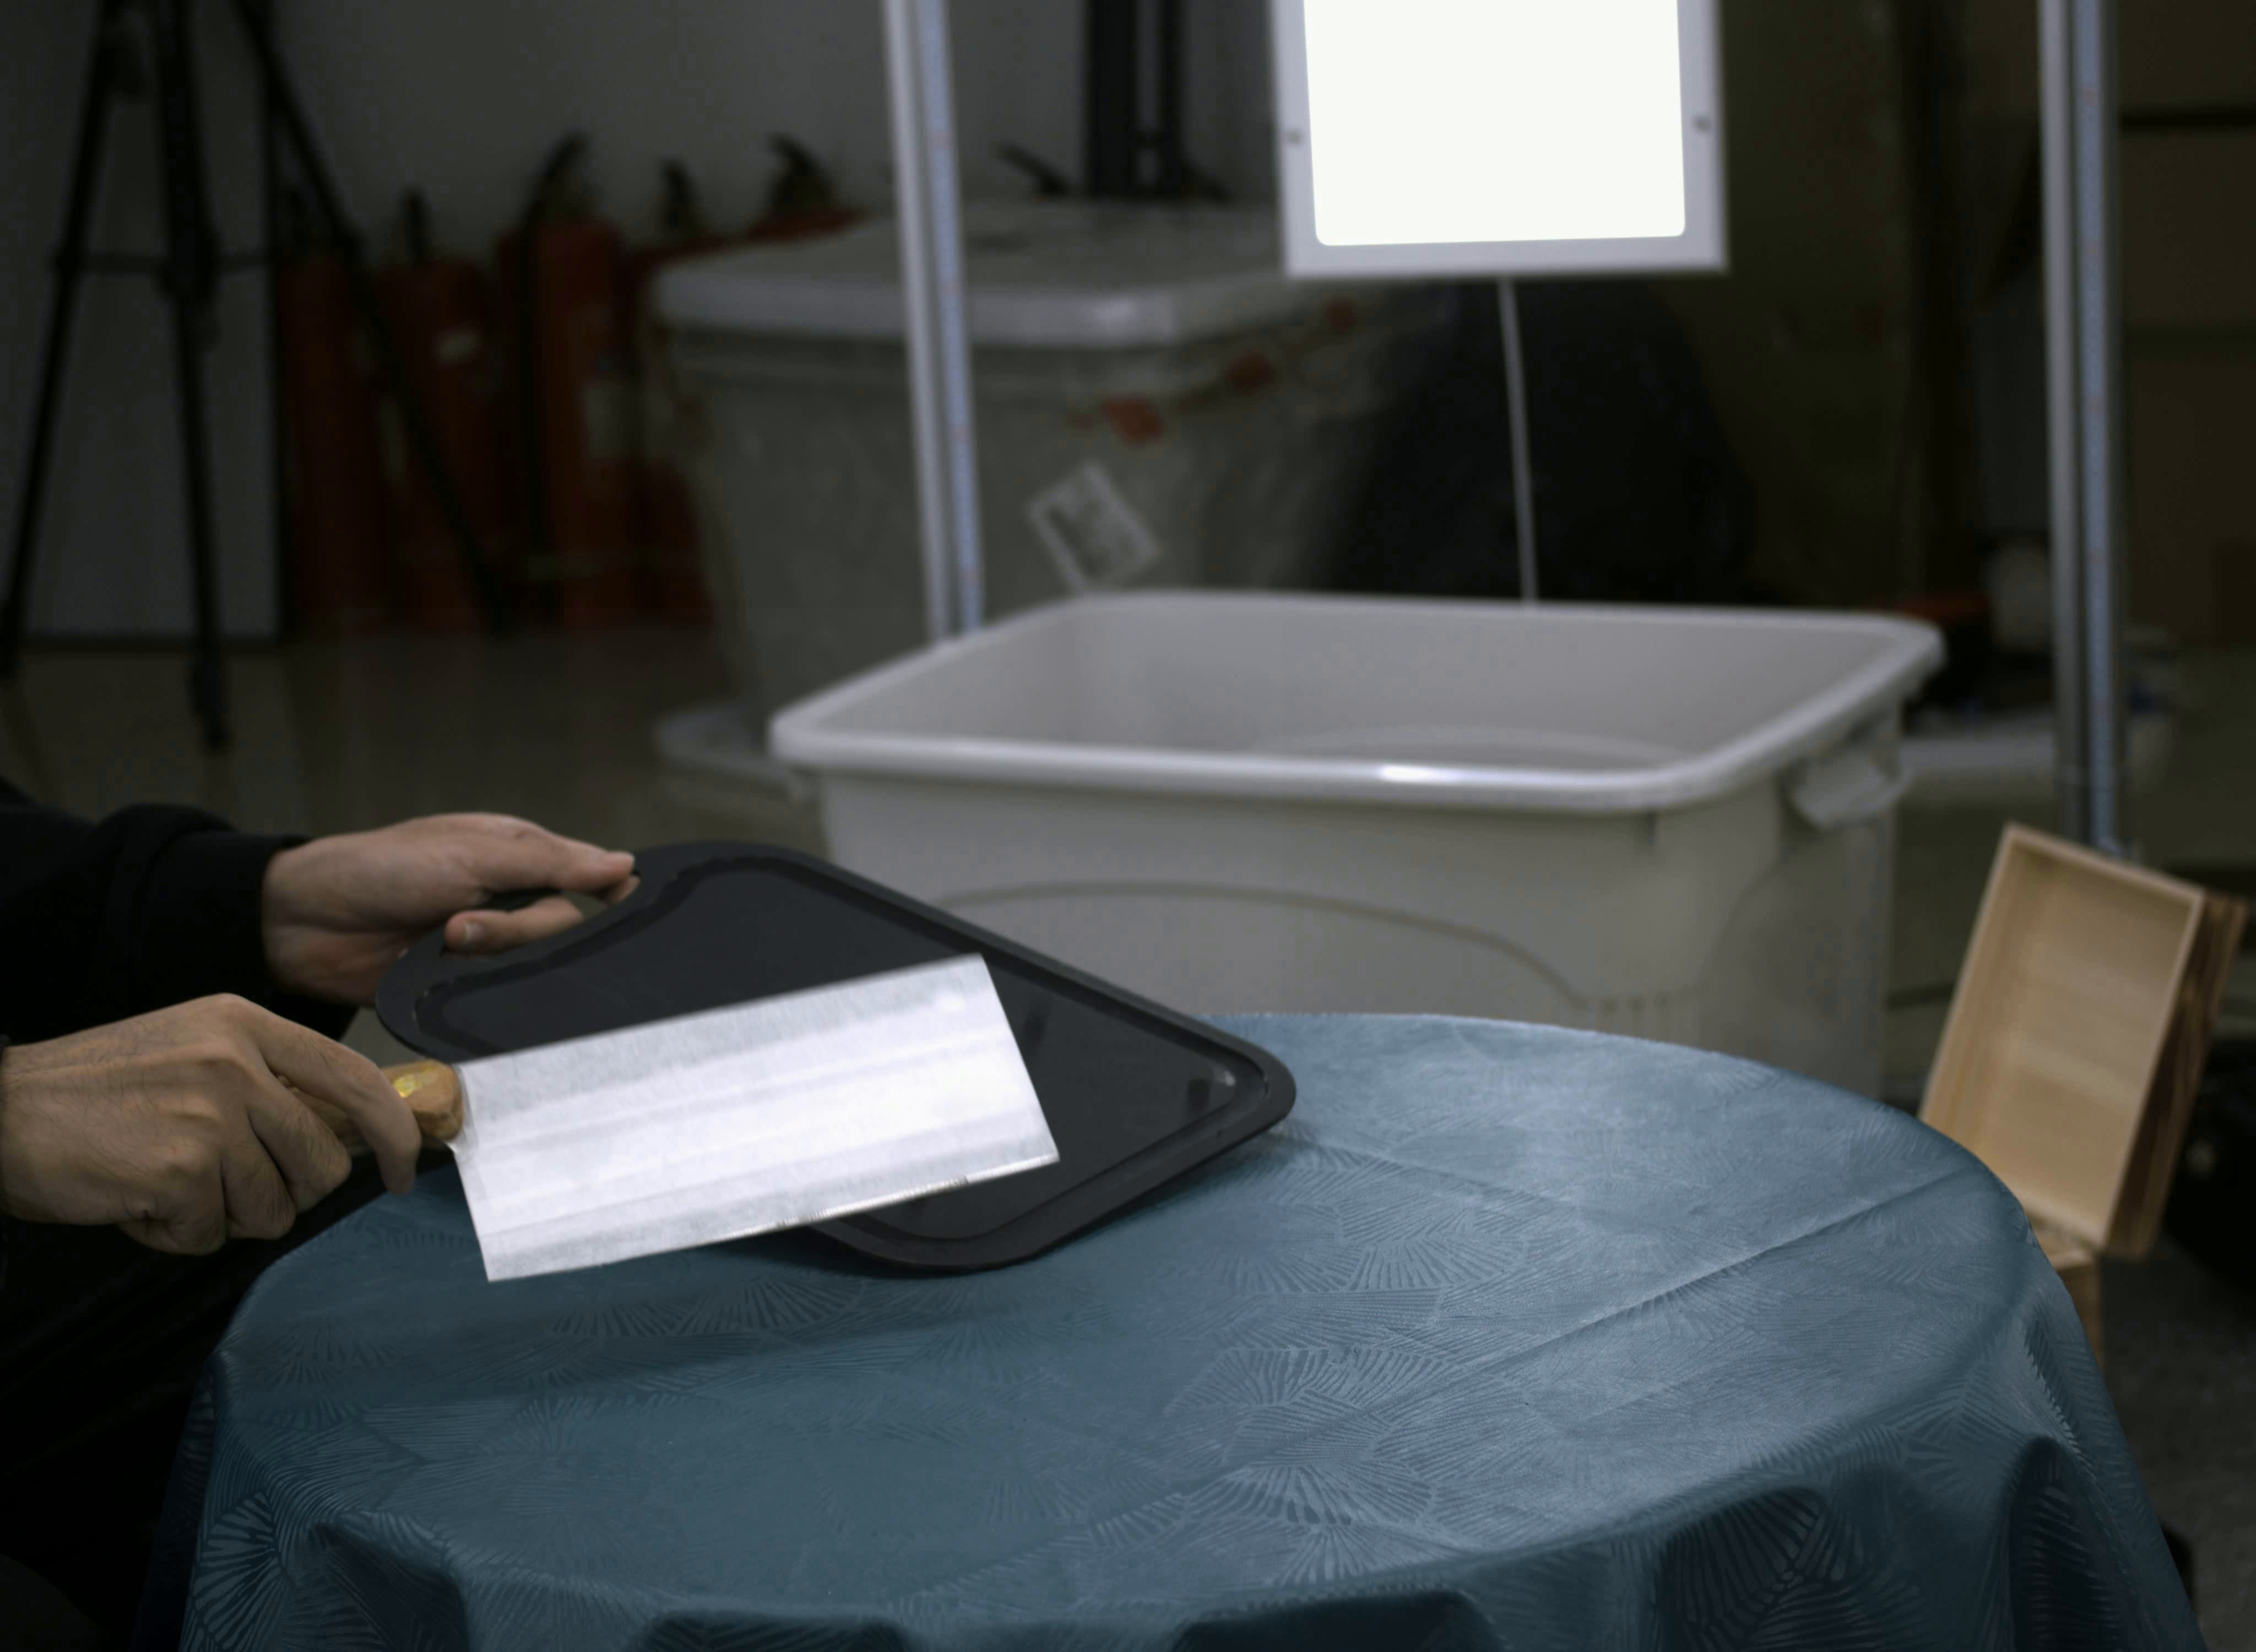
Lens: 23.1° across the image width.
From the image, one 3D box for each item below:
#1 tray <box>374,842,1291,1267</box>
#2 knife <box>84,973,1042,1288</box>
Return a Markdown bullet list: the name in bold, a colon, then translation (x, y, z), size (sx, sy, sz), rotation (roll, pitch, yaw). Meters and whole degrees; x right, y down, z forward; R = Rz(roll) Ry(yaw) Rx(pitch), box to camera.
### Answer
- **tray**: translation (-0.114, 0.074, 1.974), size (0.331, 0.010, 0.206), rotation (21, 33, 37)
- **knife**: translation (-0.179, 0.106, 1.778), size (0.302, 0.021, 0.093), rotation (-11, 48, -11)
